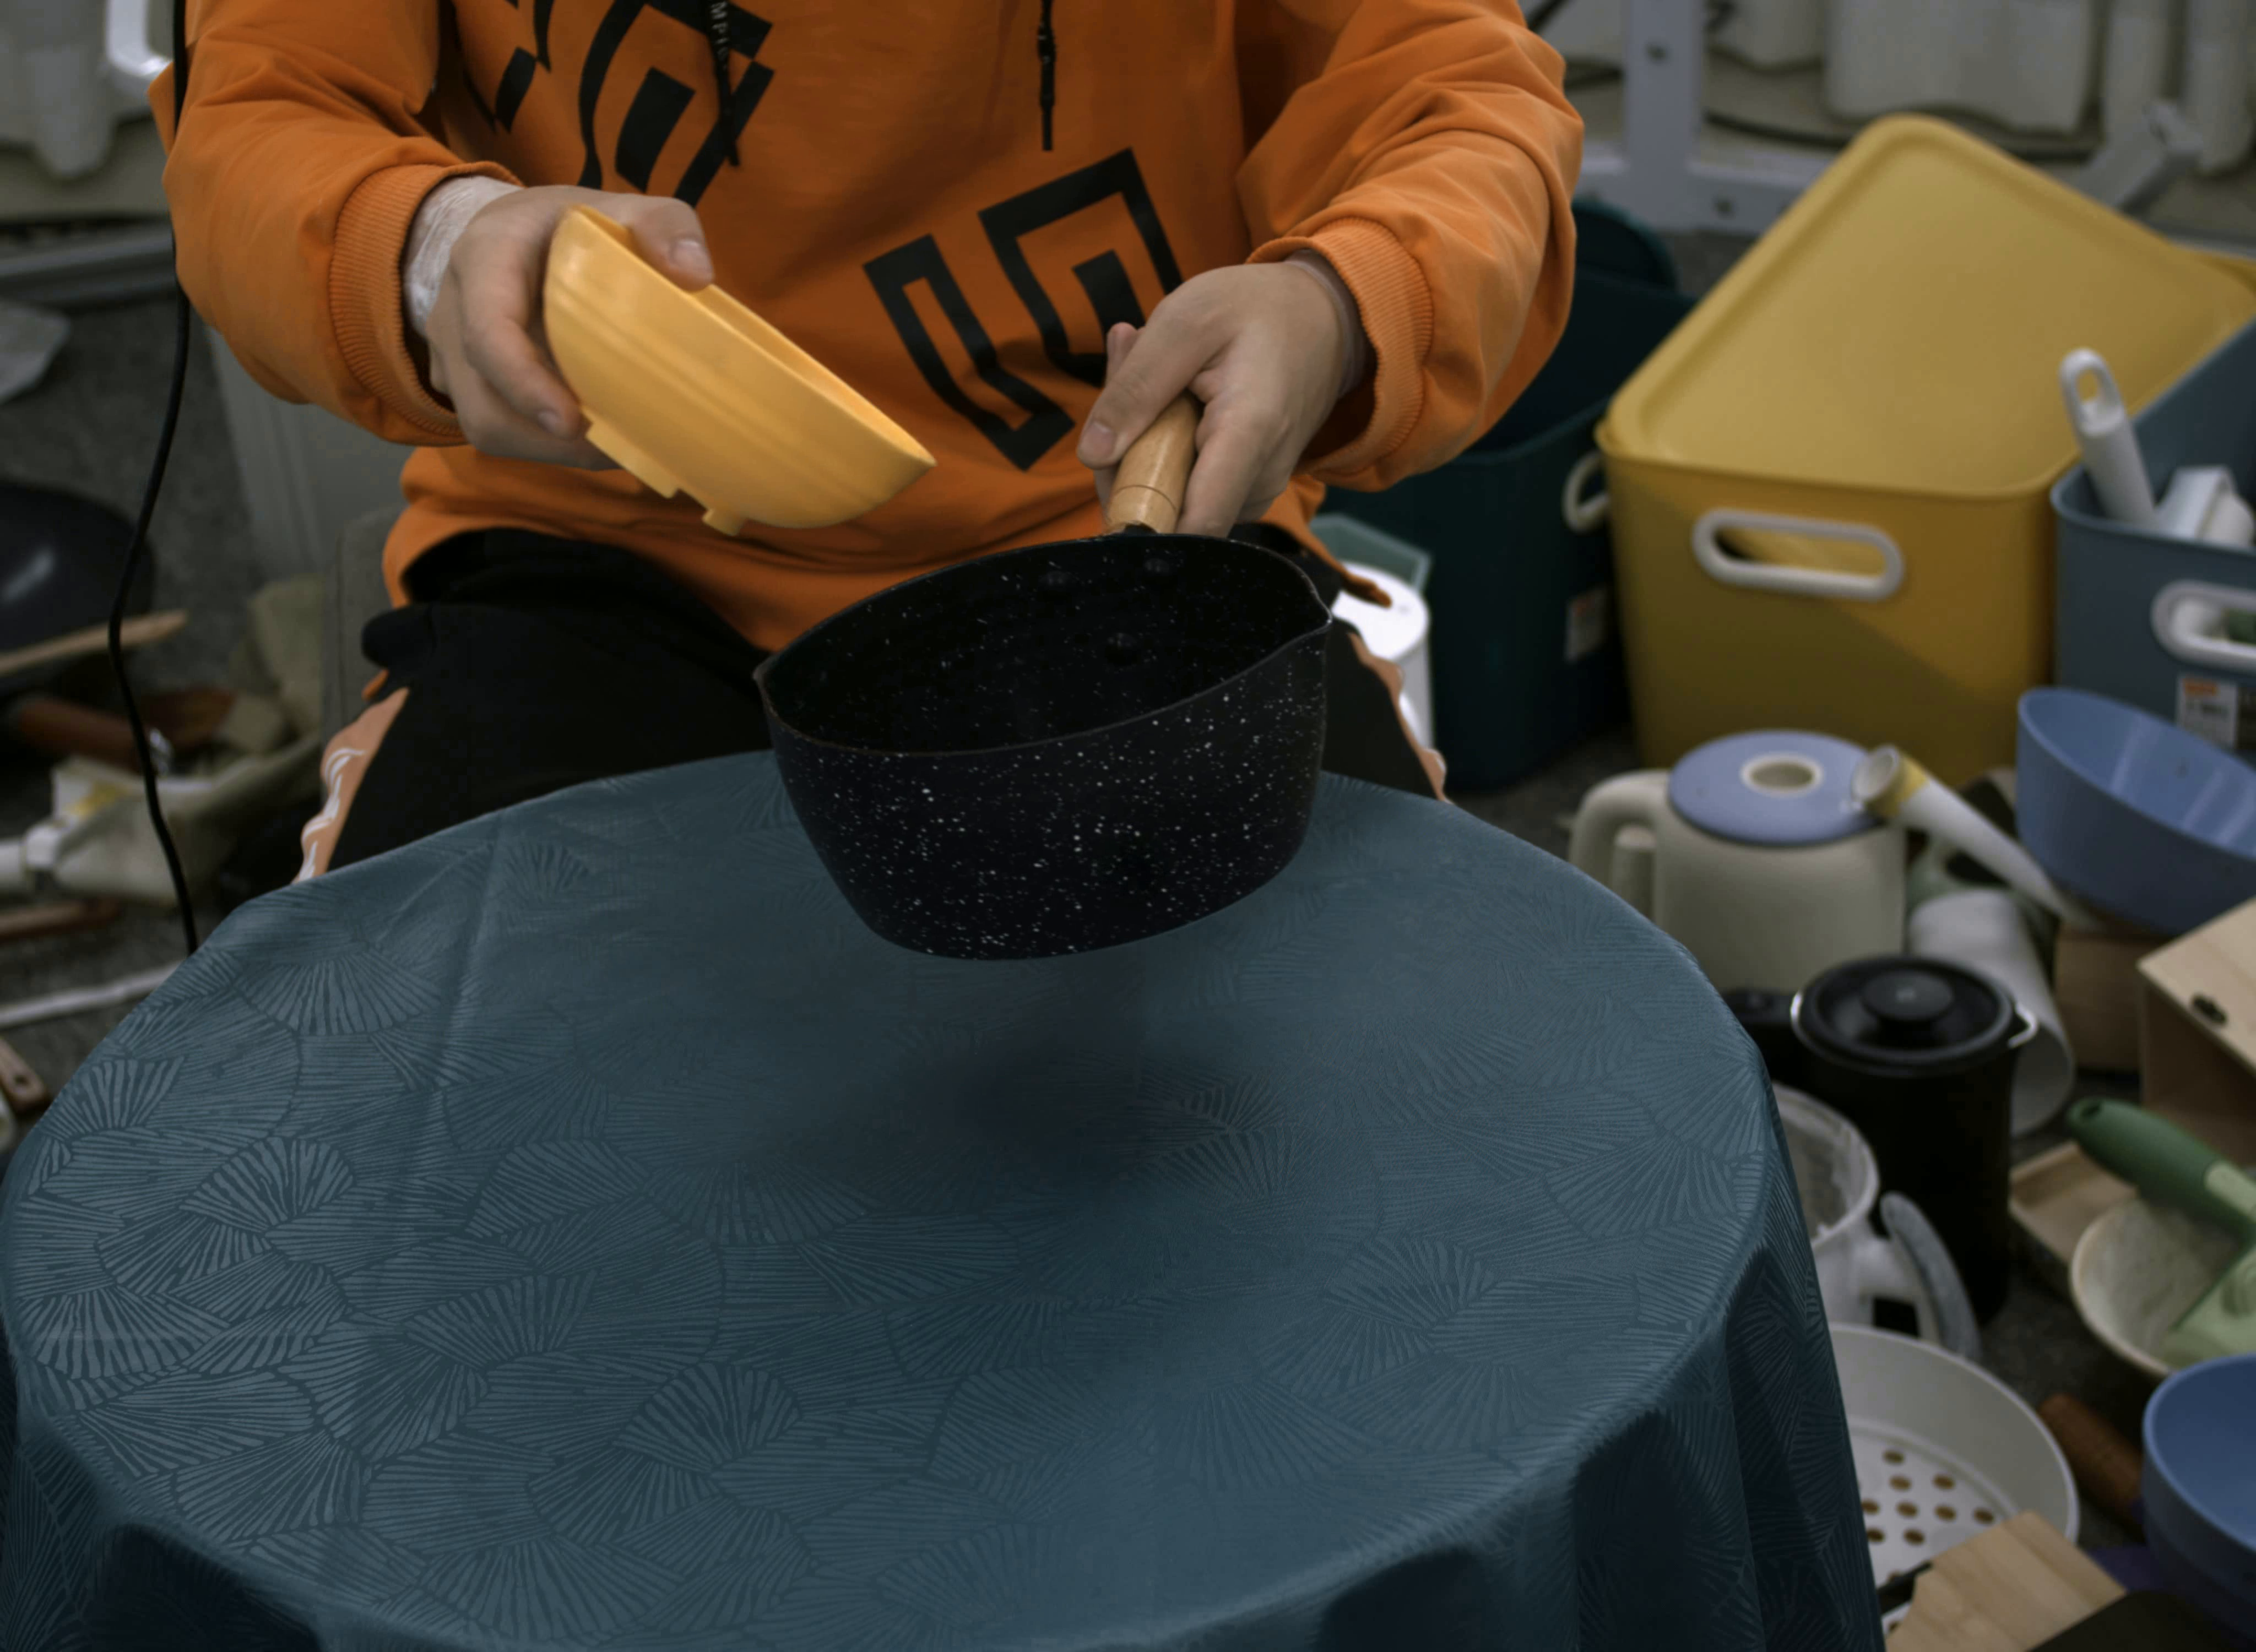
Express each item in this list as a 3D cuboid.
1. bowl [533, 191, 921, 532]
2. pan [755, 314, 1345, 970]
[{"bbox_3d":[-0.141,-0.137,1.813,0.145,0.060,0.145,36,2,-1],"label":"bowl"},{"bbox_3d":[-0.006,-0.066,1.926,0.205,0.107,0.348,-6,24,16],"label":"pan"}]
